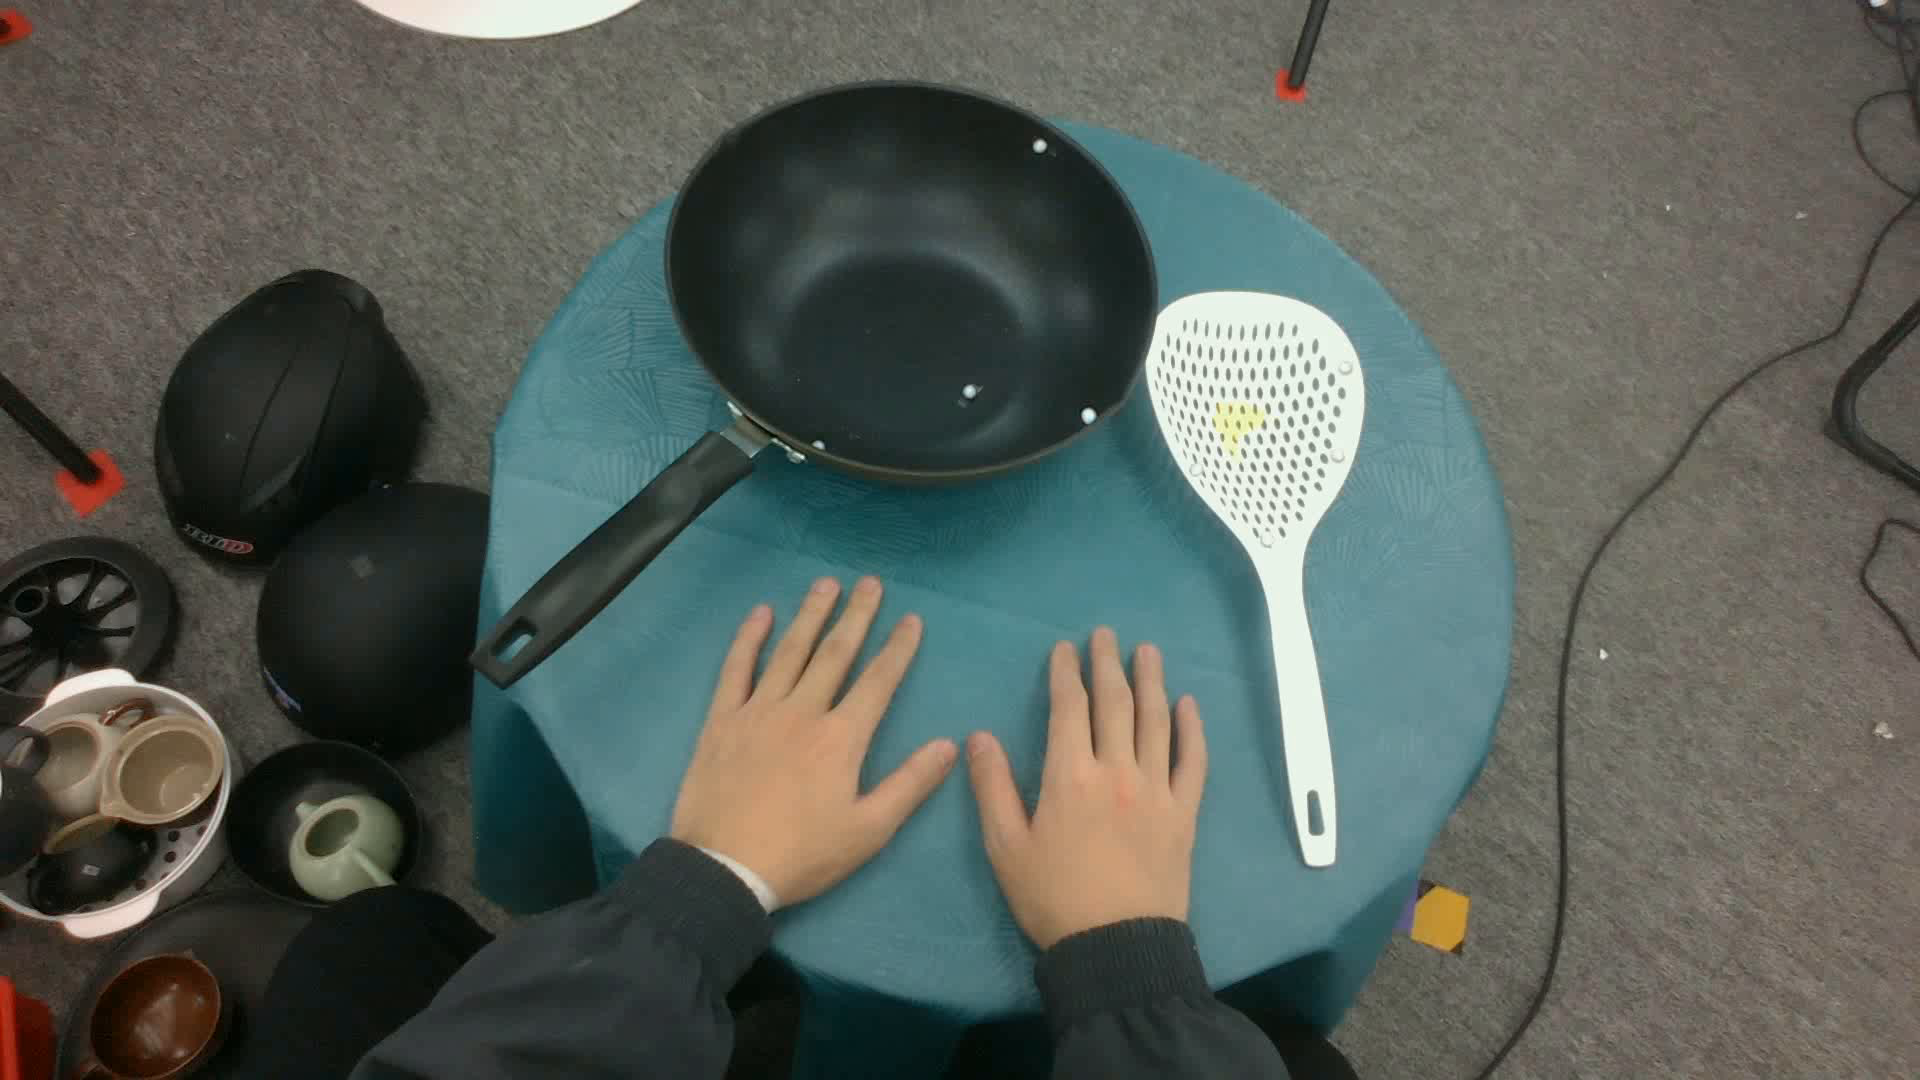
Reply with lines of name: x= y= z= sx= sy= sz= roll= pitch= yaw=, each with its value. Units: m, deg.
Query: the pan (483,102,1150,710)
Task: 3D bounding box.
pan: x=-0.085 y=-0.067 z=0.788 sx=0.288 sy=0.086 sz=0.465 roll=33 pitch=64 yaw=13

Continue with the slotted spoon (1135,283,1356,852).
slotted spoon: x=0.181 y=0.003 z=0.796 sx=0.137 sy=0.050 sz=0.349 roll=-1 pitch=61 yaw=-8
